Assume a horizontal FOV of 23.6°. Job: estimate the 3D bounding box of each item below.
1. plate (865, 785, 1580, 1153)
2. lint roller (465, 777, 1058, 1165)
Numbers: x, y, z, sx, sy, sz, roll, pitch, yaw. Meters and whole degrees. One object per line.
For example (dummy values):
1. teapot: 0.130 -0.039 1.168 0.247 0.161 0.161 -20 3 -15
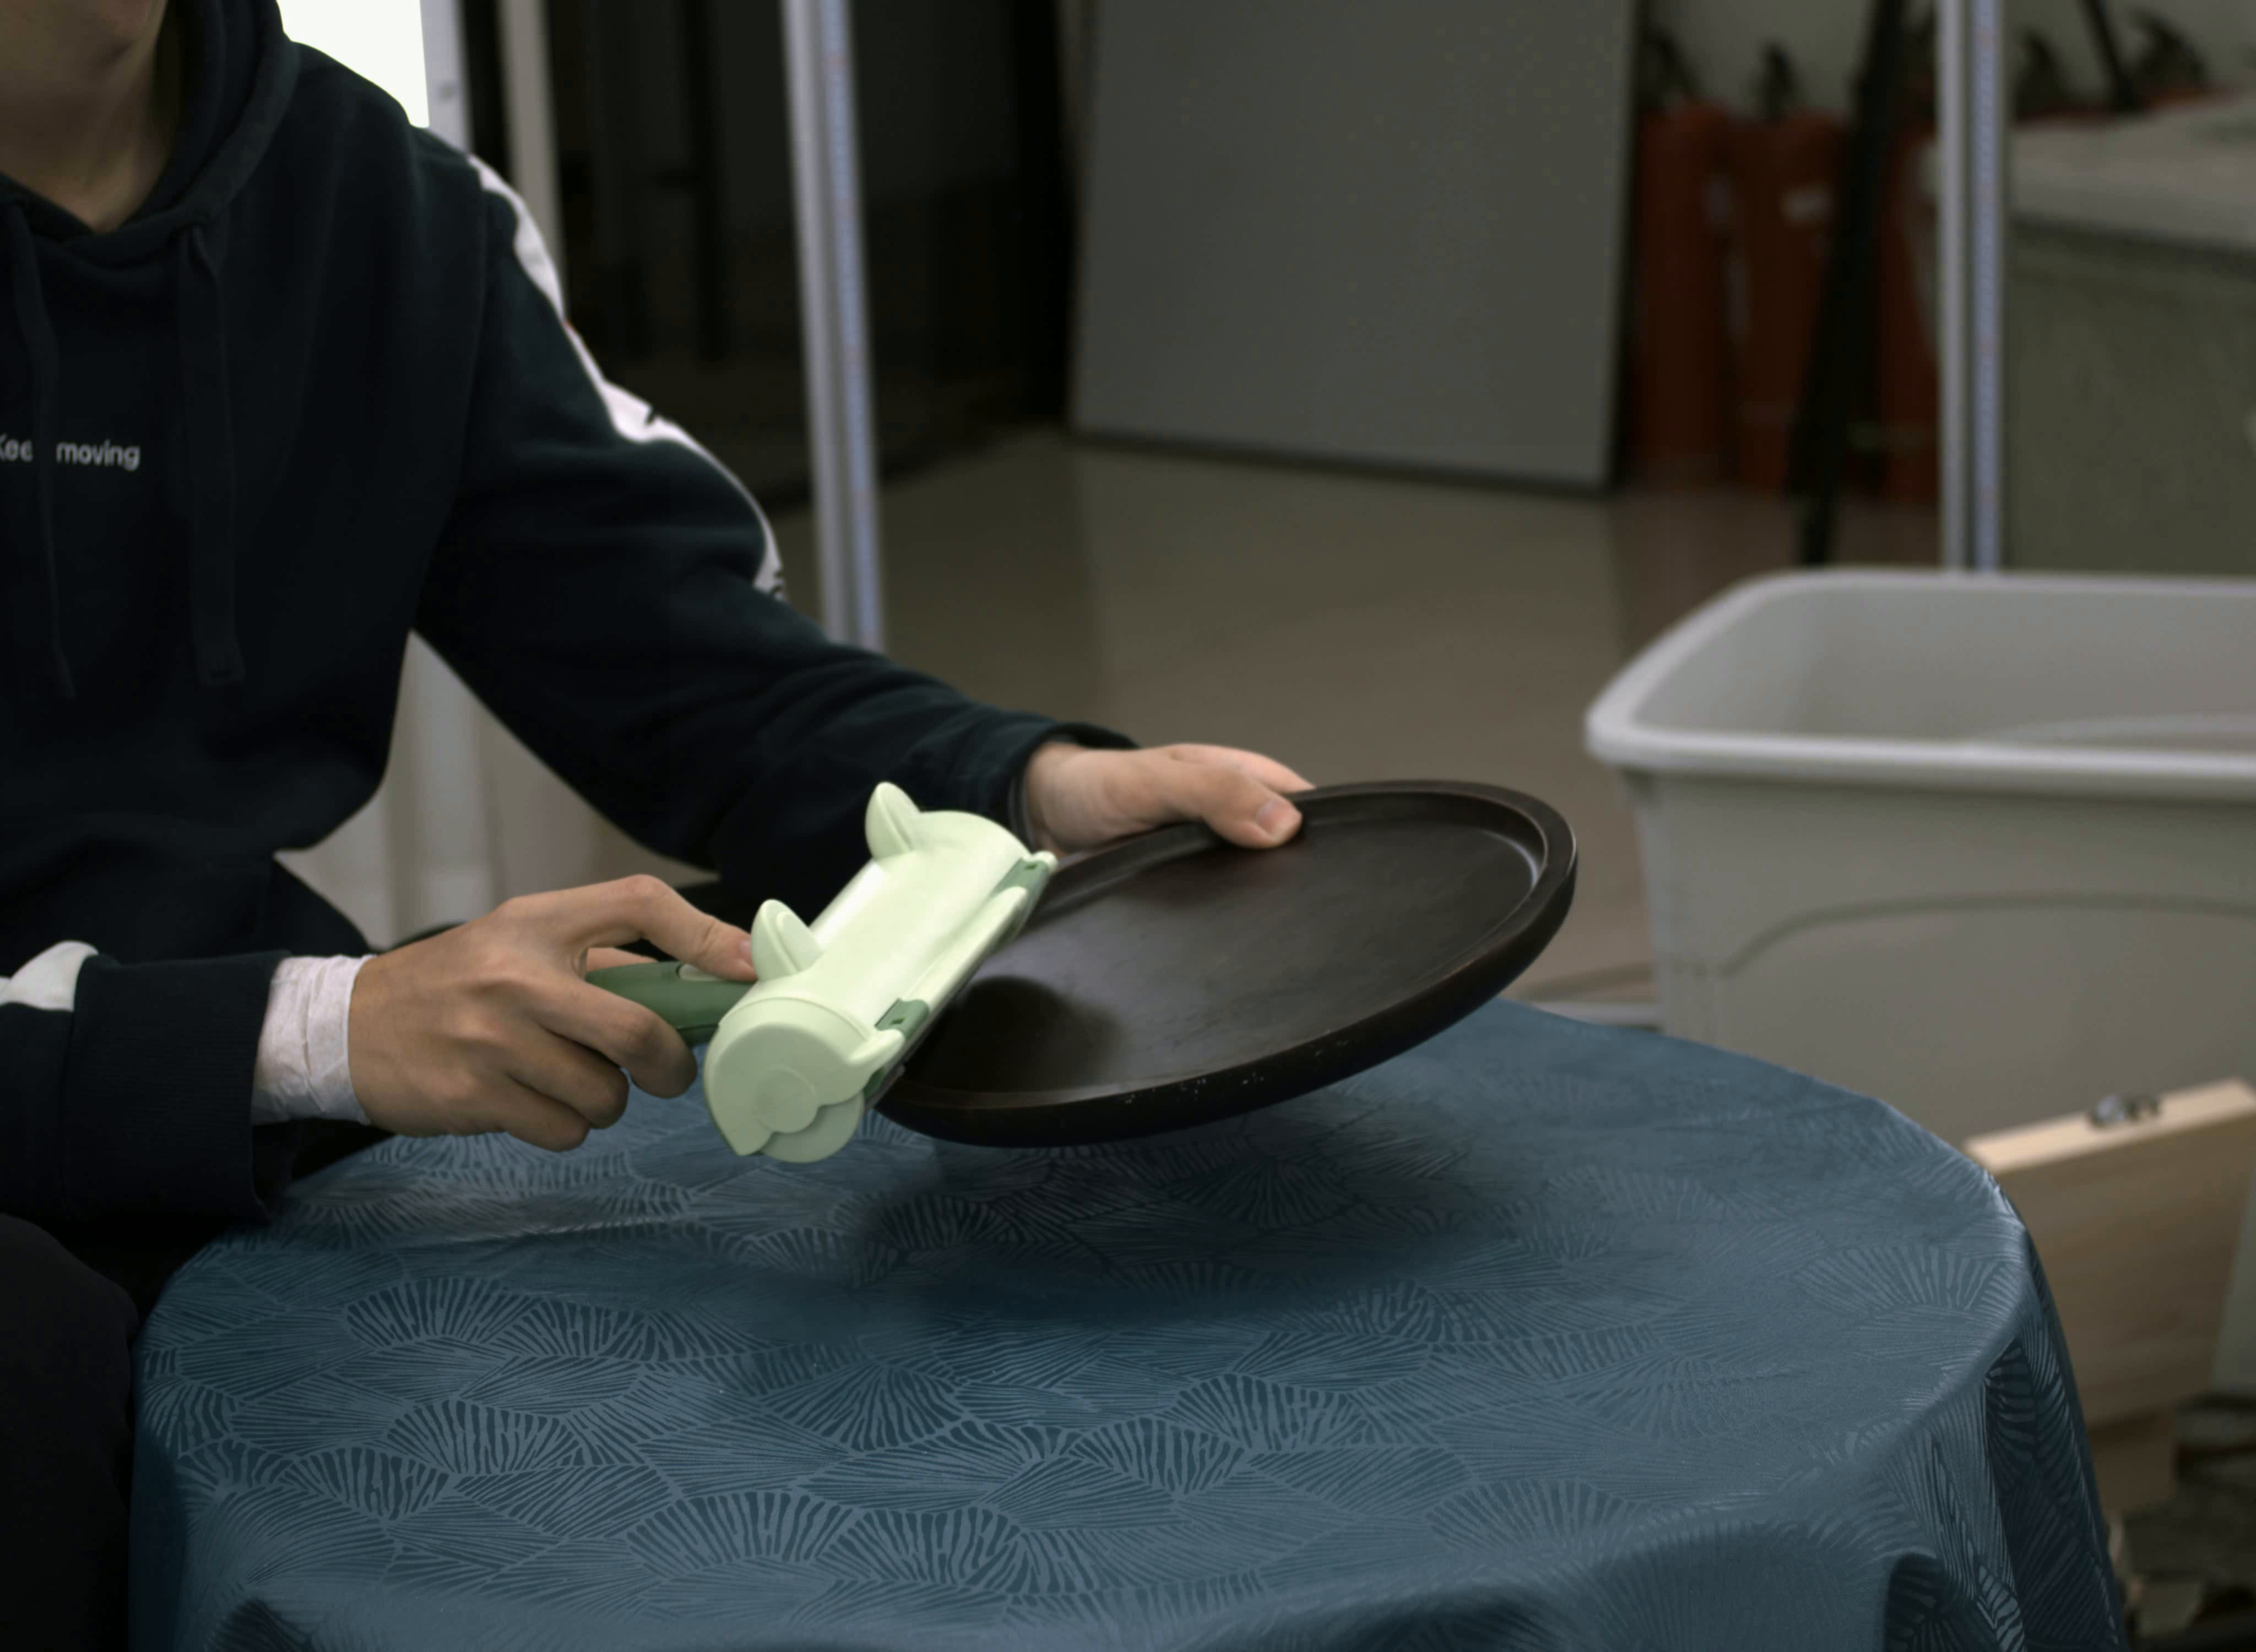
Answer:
1. plate: 0.027 0.044 1.752 0.252 0.029 0.255 -17 18 5
2. lint roller: -0.133 0.043 1.736 0.183 0.083 0.197 -1 18 17
